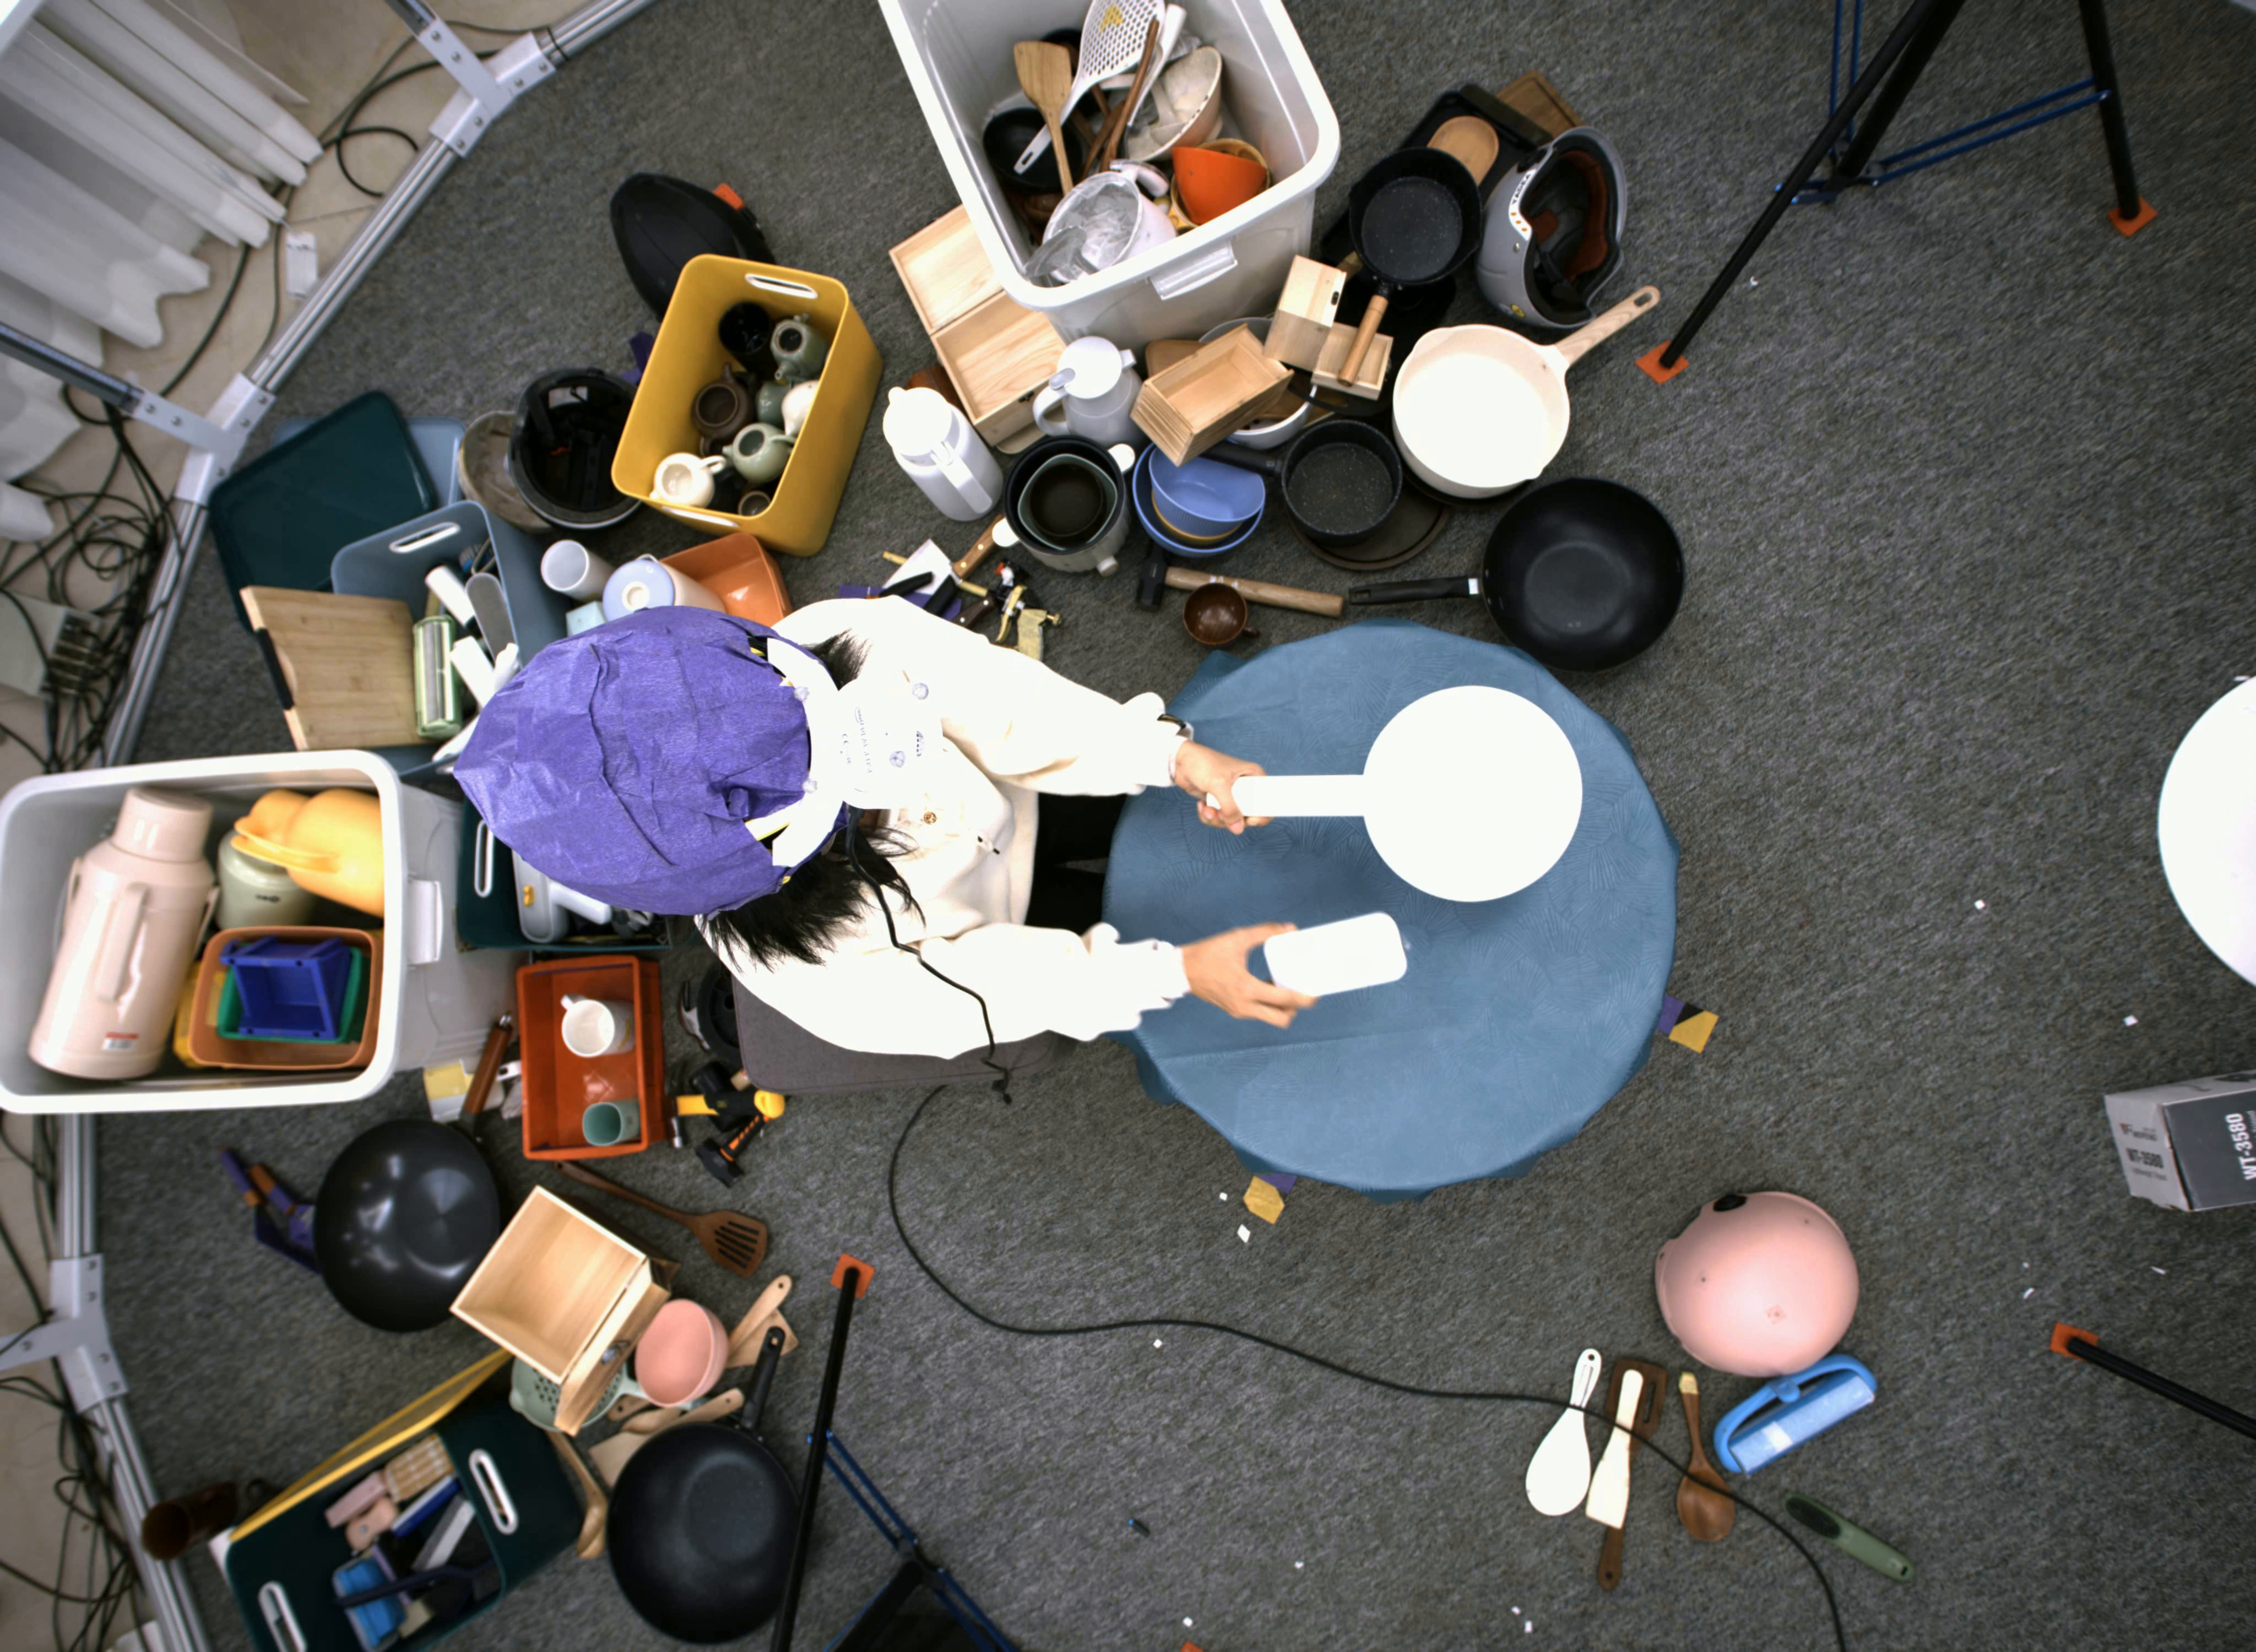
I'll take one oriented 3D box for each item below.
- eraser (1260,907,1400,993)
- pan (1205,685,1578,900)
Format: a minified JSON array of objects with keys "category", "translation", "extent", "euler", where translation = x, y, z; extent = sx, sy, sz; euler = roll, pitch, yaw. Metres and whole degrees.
[{"category":"eraser","translation":[0.192,0.116,1.319],"extent":[0.133,0.034,0.063],"euler":[-16,93,25]},{"category":"pan","translation":[0.257,-0.029,1.348],"extent":[0.357,0.102,0.201],"euler":[-1,88,21]}]
